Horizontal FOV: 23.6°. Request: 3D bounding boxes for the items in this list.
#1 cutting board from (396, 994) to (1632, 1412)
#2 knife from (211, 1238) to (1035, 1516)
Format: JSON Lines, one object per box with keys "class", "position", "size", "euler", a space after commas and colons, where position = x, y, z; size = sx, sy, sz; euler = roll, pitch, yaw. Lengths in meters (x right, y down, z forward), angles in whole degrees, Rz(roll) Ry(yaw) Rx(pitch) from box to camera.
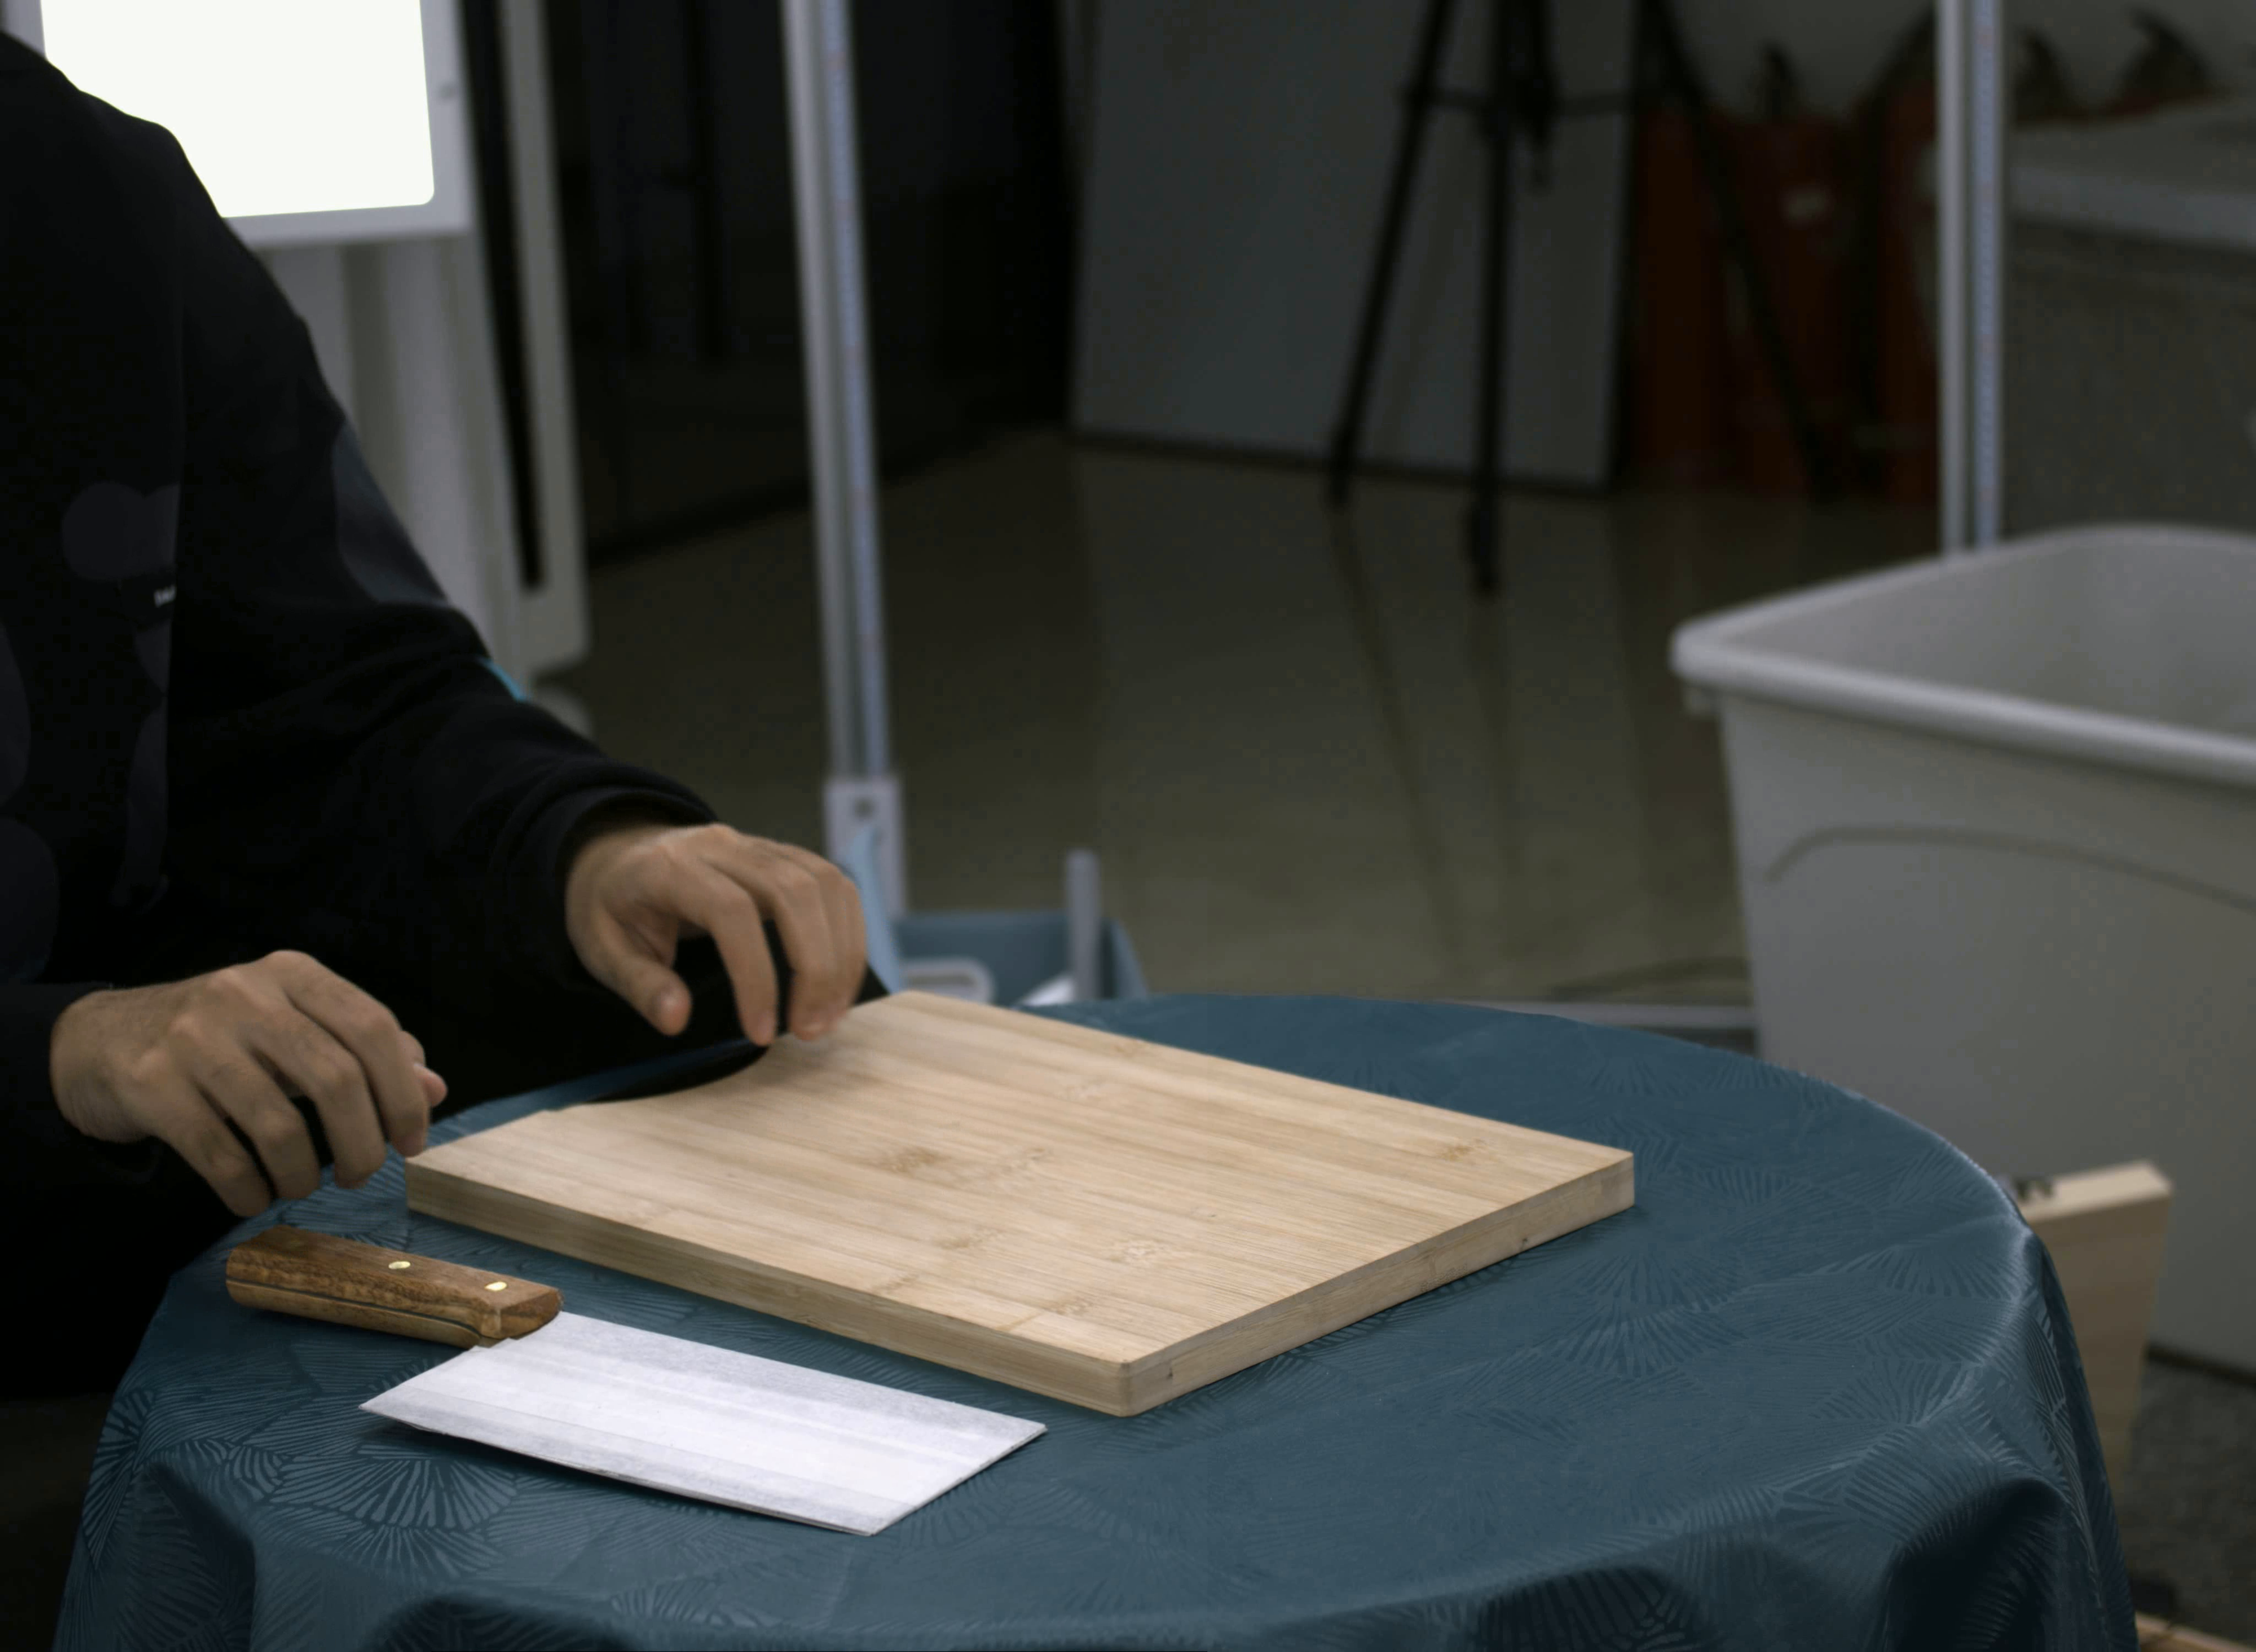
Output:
{"class": "cutting board", "position": [-0.041, 0.117, 1.765], "size": [0.352, 0.024, 0.245], "euler": [9, 19, 44]}
{"class": "knife", "position": [-0.170, 0.166, 1.609], "size": [0.307, 0.021, 0.091], "euler": [8, 20, 35]}
